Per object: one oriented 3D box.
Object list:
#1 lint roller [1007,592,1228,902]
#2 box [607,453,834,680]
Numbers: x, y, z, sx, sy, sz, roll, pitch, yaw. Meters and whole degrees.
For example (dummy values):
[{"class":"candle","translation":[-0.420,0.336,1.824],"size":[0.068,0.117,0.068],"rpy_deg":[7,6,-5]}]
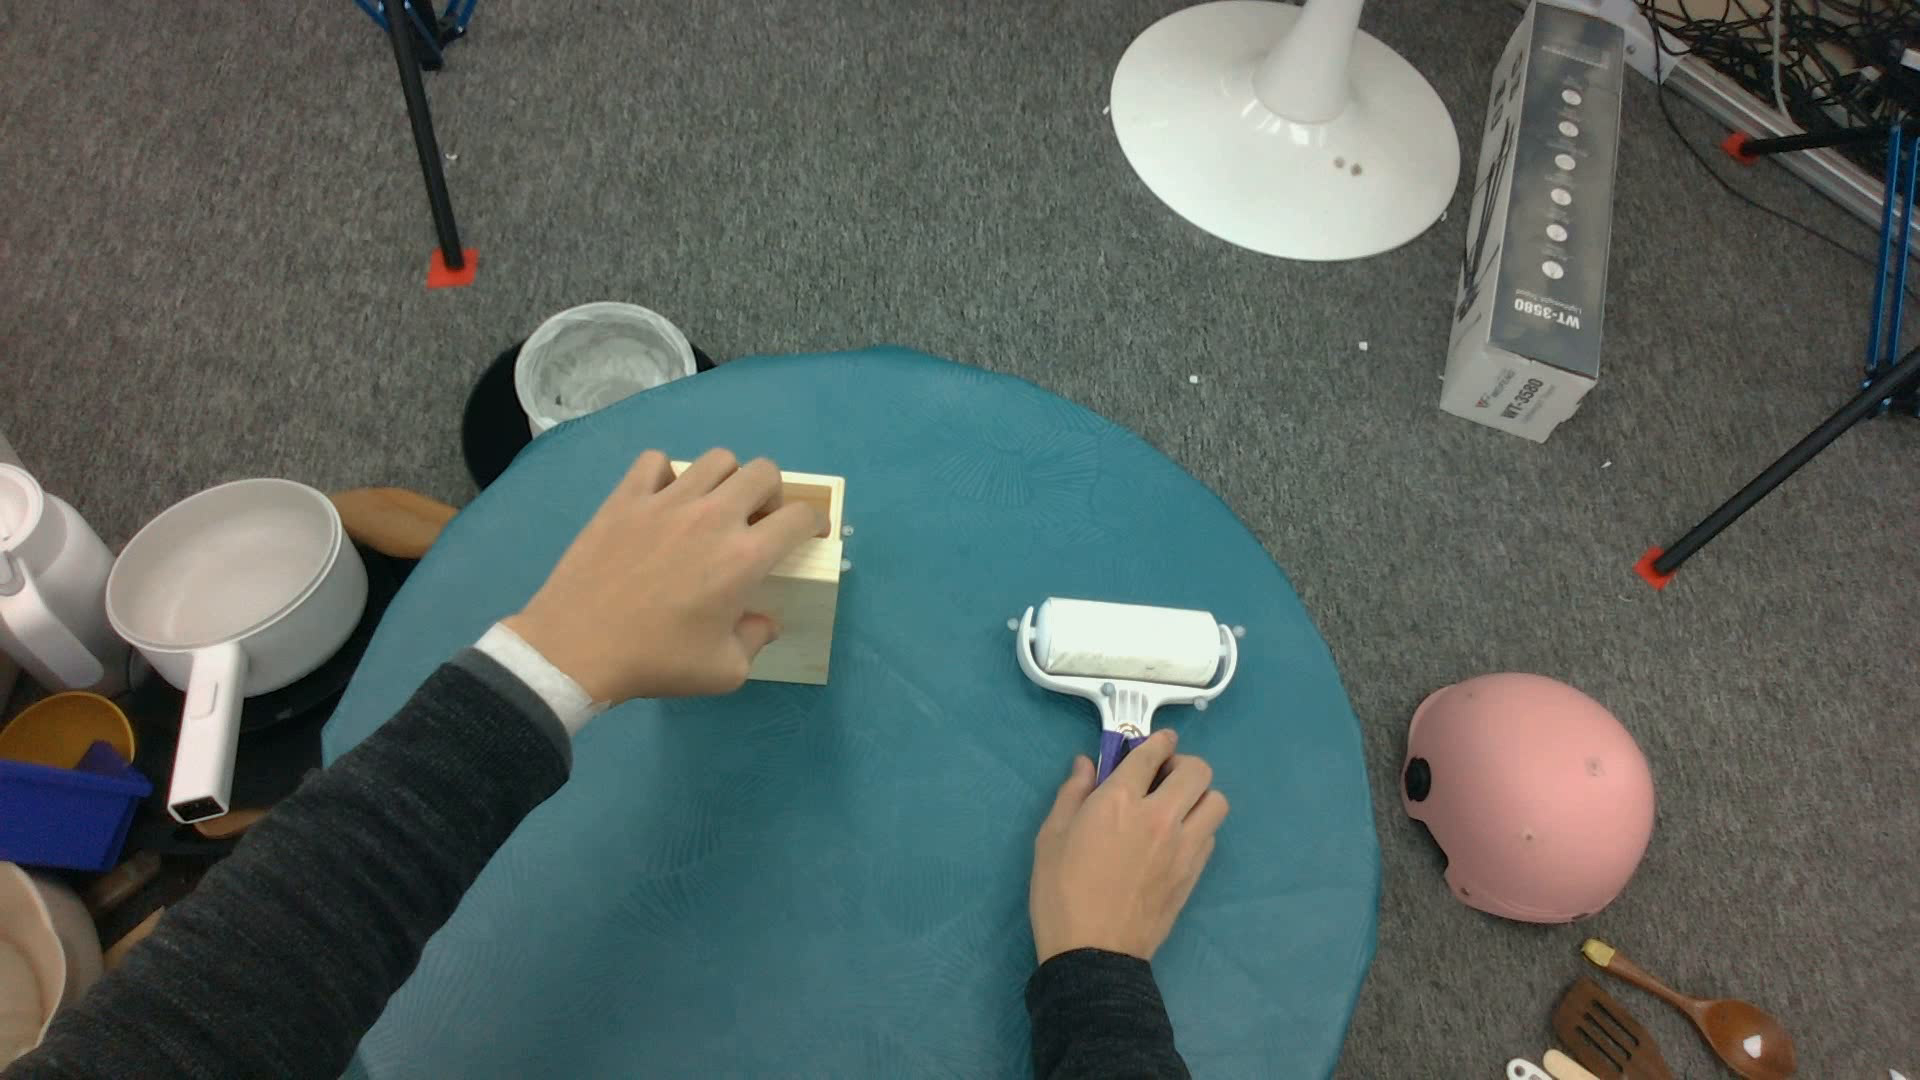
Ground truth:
[{"class":"lint roller","translation":[0.091,0.114,0.795],"size":[0.133,0.050,0.181],"rpy_deg":[7,57,-6]},{"class":"box","translation":[-0.123,0.000,0.751],"size":[0.102,0.183,0.134],"rpy_deg":[5,61,-5]}]
